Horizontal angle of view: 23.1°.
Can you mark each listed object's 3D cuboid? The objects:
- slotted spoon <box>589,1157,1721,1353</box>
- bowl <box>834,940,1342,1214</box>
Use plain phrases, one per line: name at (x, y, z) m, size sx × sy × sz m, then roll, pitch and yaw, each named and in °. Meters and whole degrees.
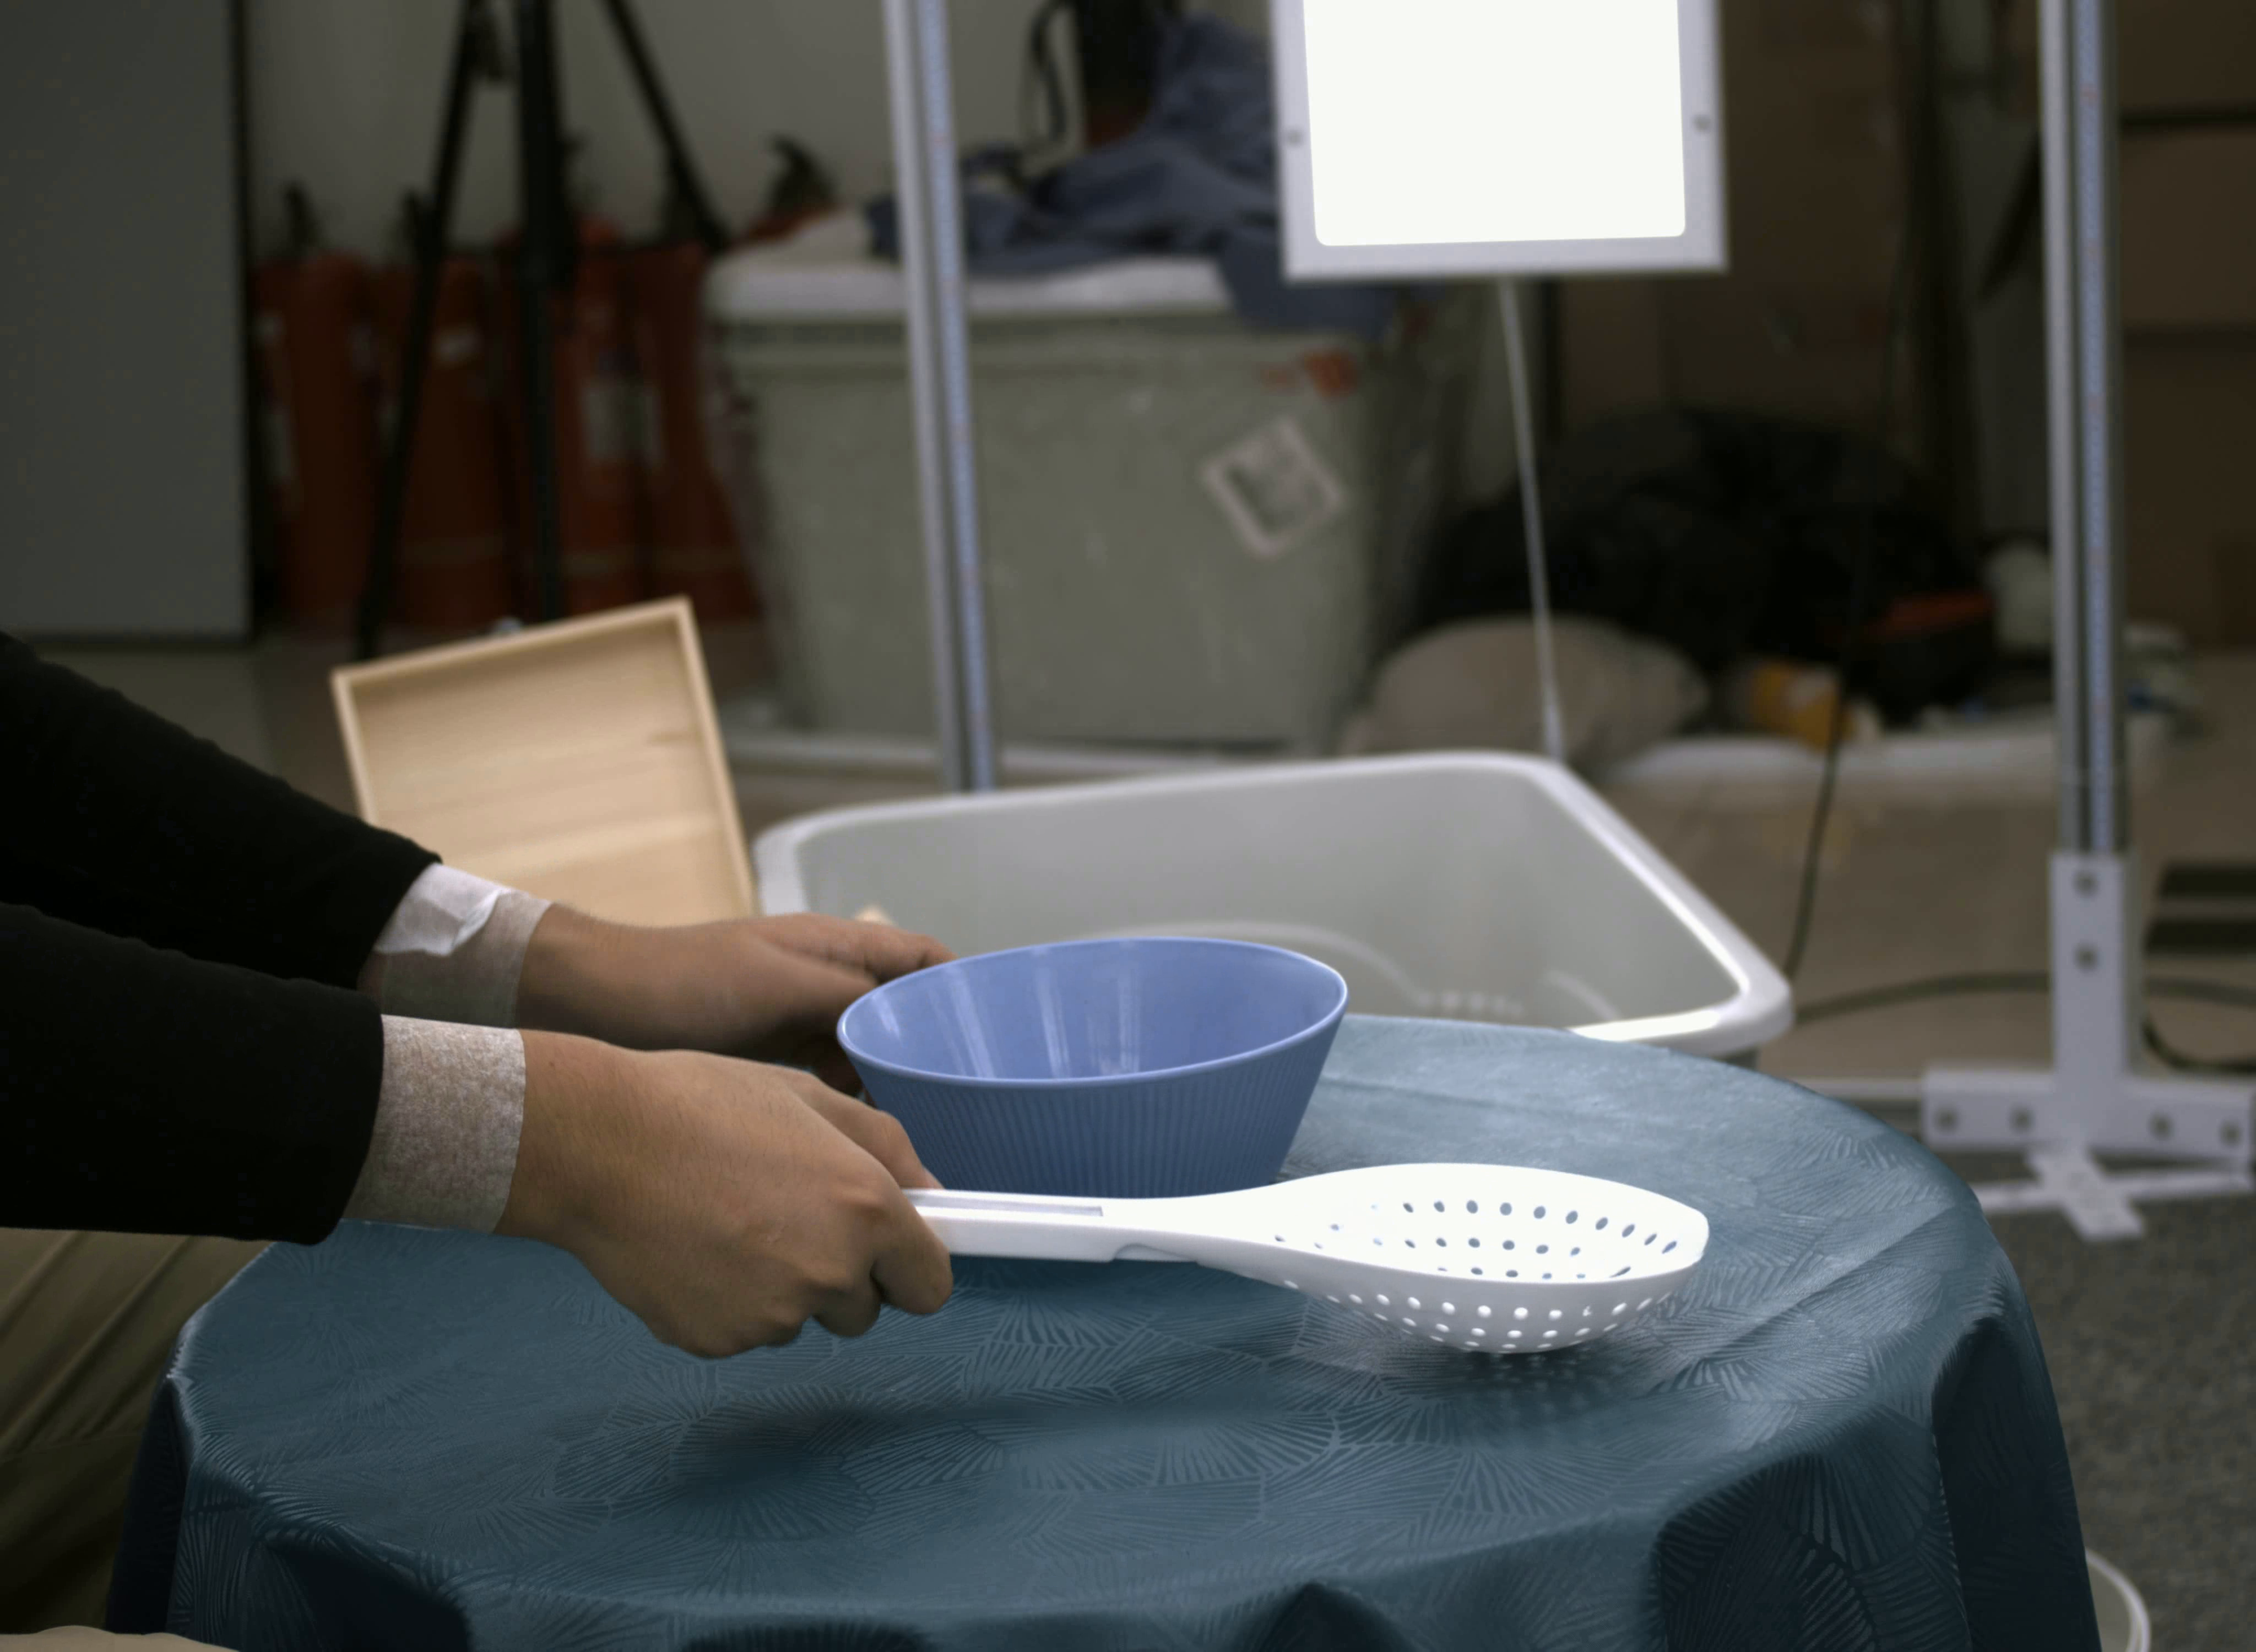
slotted spoon at (0.009, 0.124, 1.702) m, size 0.348 × 0.046 × 0.136 m, roll 7°, pitch 12°, yaw -3°
bowl at (-0.011, 0.093, 1.892) m, size 0.175 × 0.070 × 0.176 m, roll -6°, pitch 14°, yaw 0°
